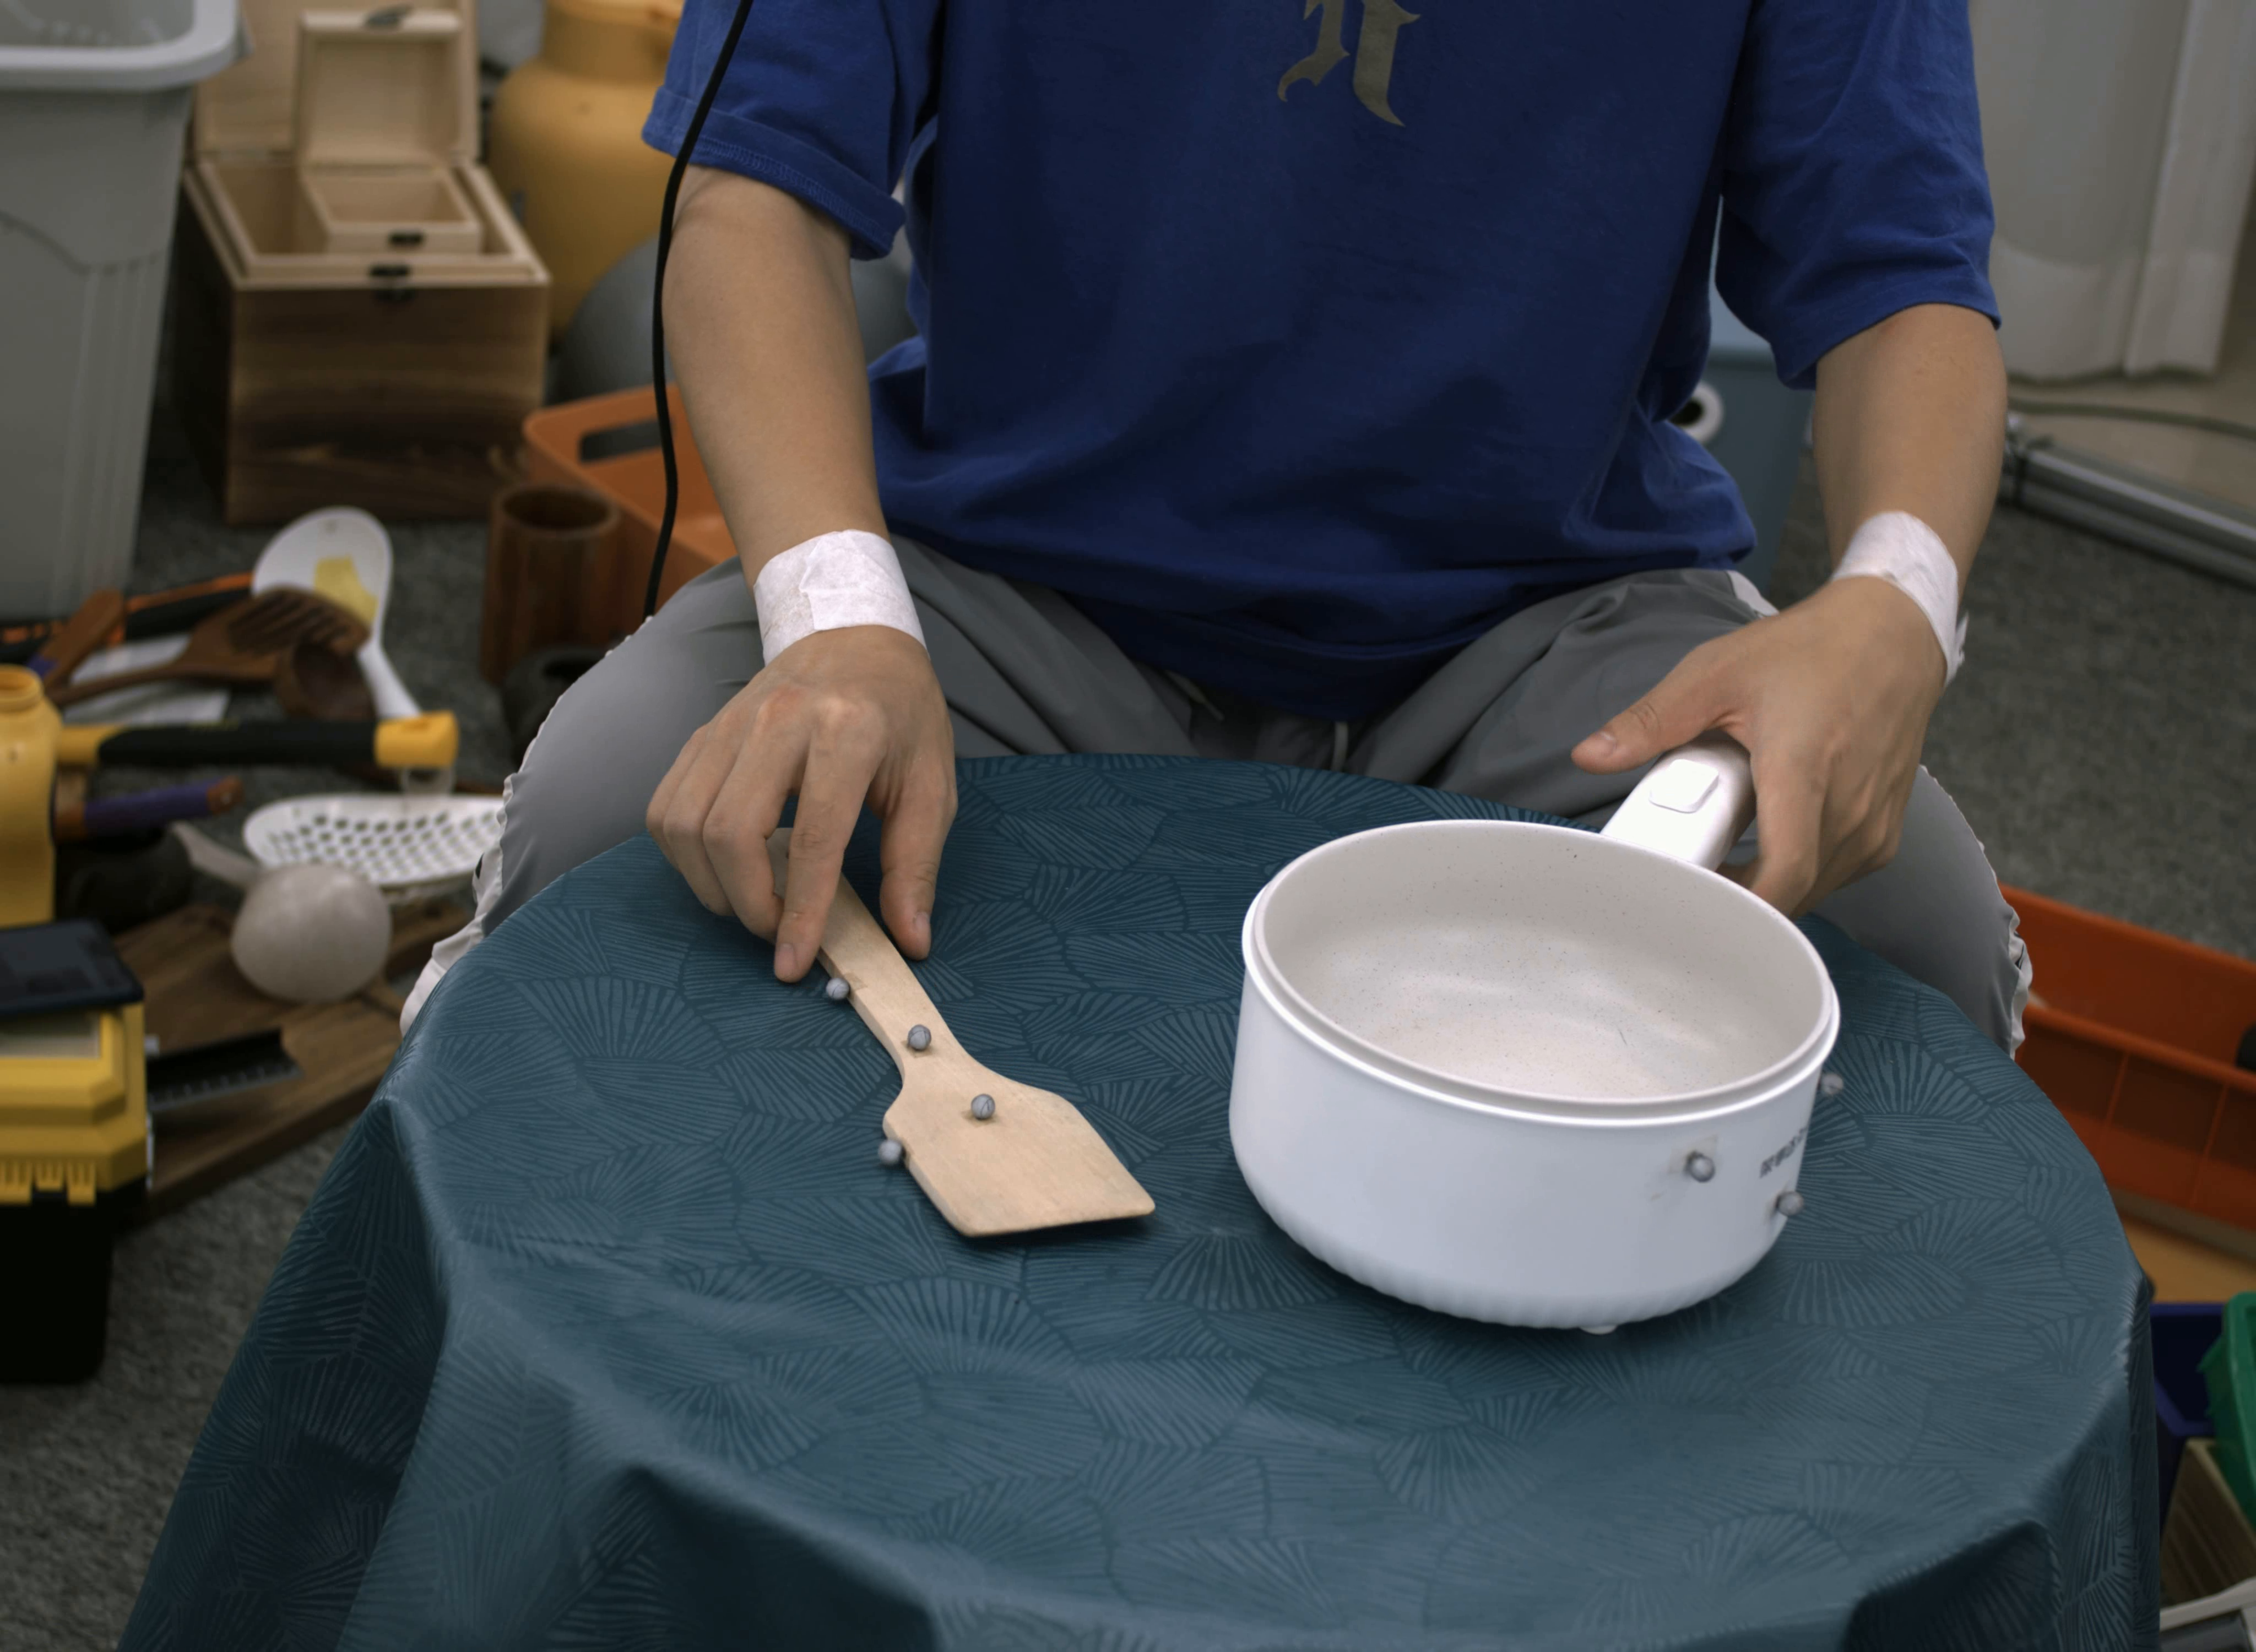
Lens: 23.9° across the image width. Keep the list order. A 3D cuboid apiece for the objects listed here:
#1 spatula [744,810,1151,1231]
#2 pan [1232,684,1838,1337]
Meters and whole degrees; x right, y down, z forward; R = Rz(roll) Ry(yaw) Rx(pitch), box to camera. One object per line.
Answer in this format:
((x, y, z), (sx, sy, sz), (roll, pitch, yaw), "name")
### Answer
((-0.079, 0.065, 1.887), (0.072, 0.010, 0.296), (-7, 30, -22), "spatula")
((0.163, 0.059, 1.860), (0.202, 0.102, 0.355), (14, 28, 19), "pan")
